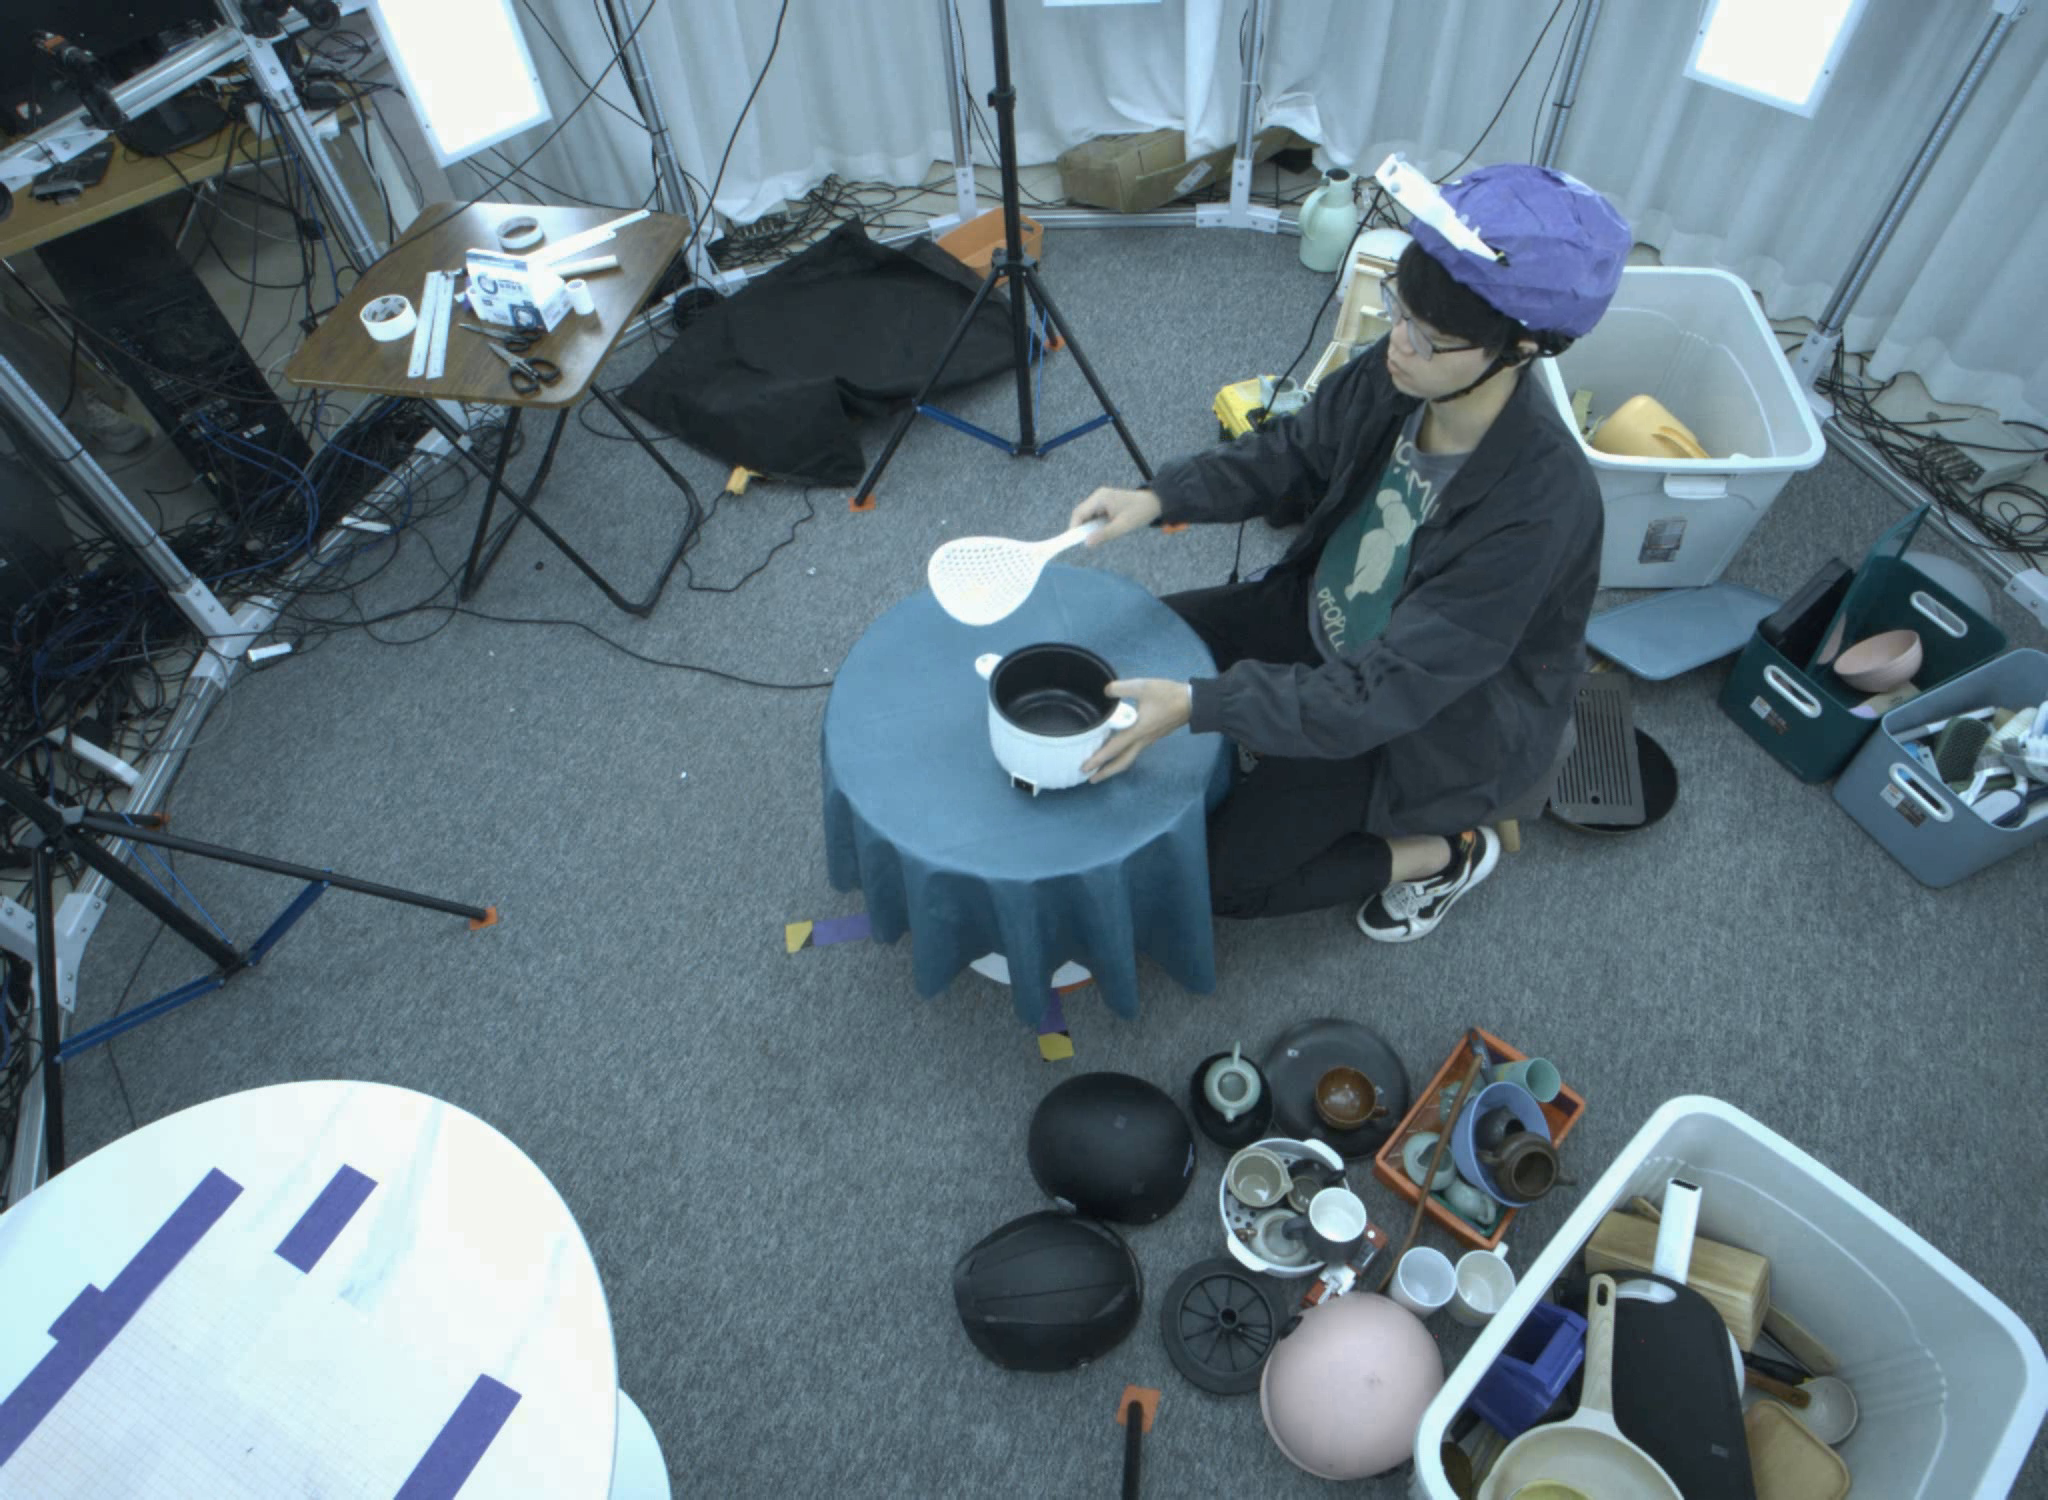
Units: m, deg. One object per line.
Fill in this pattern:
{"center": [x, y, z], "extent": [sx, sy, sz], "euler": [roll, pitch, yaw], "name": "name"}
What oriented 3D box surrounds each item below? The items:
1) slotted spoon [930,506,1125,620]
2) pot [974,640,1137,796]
{"center": [0.020, -0.286, 1.761], "extent": [0.351, 0.050, 0.136], "euler": [-30, 80, -24], "name": "slotted spoon"}
{"center": [0.042, -0.046, 1.710], "extent": [0.238, 0.144, 0.191], "euler": [22, 54, 14], "name": "pot"}
